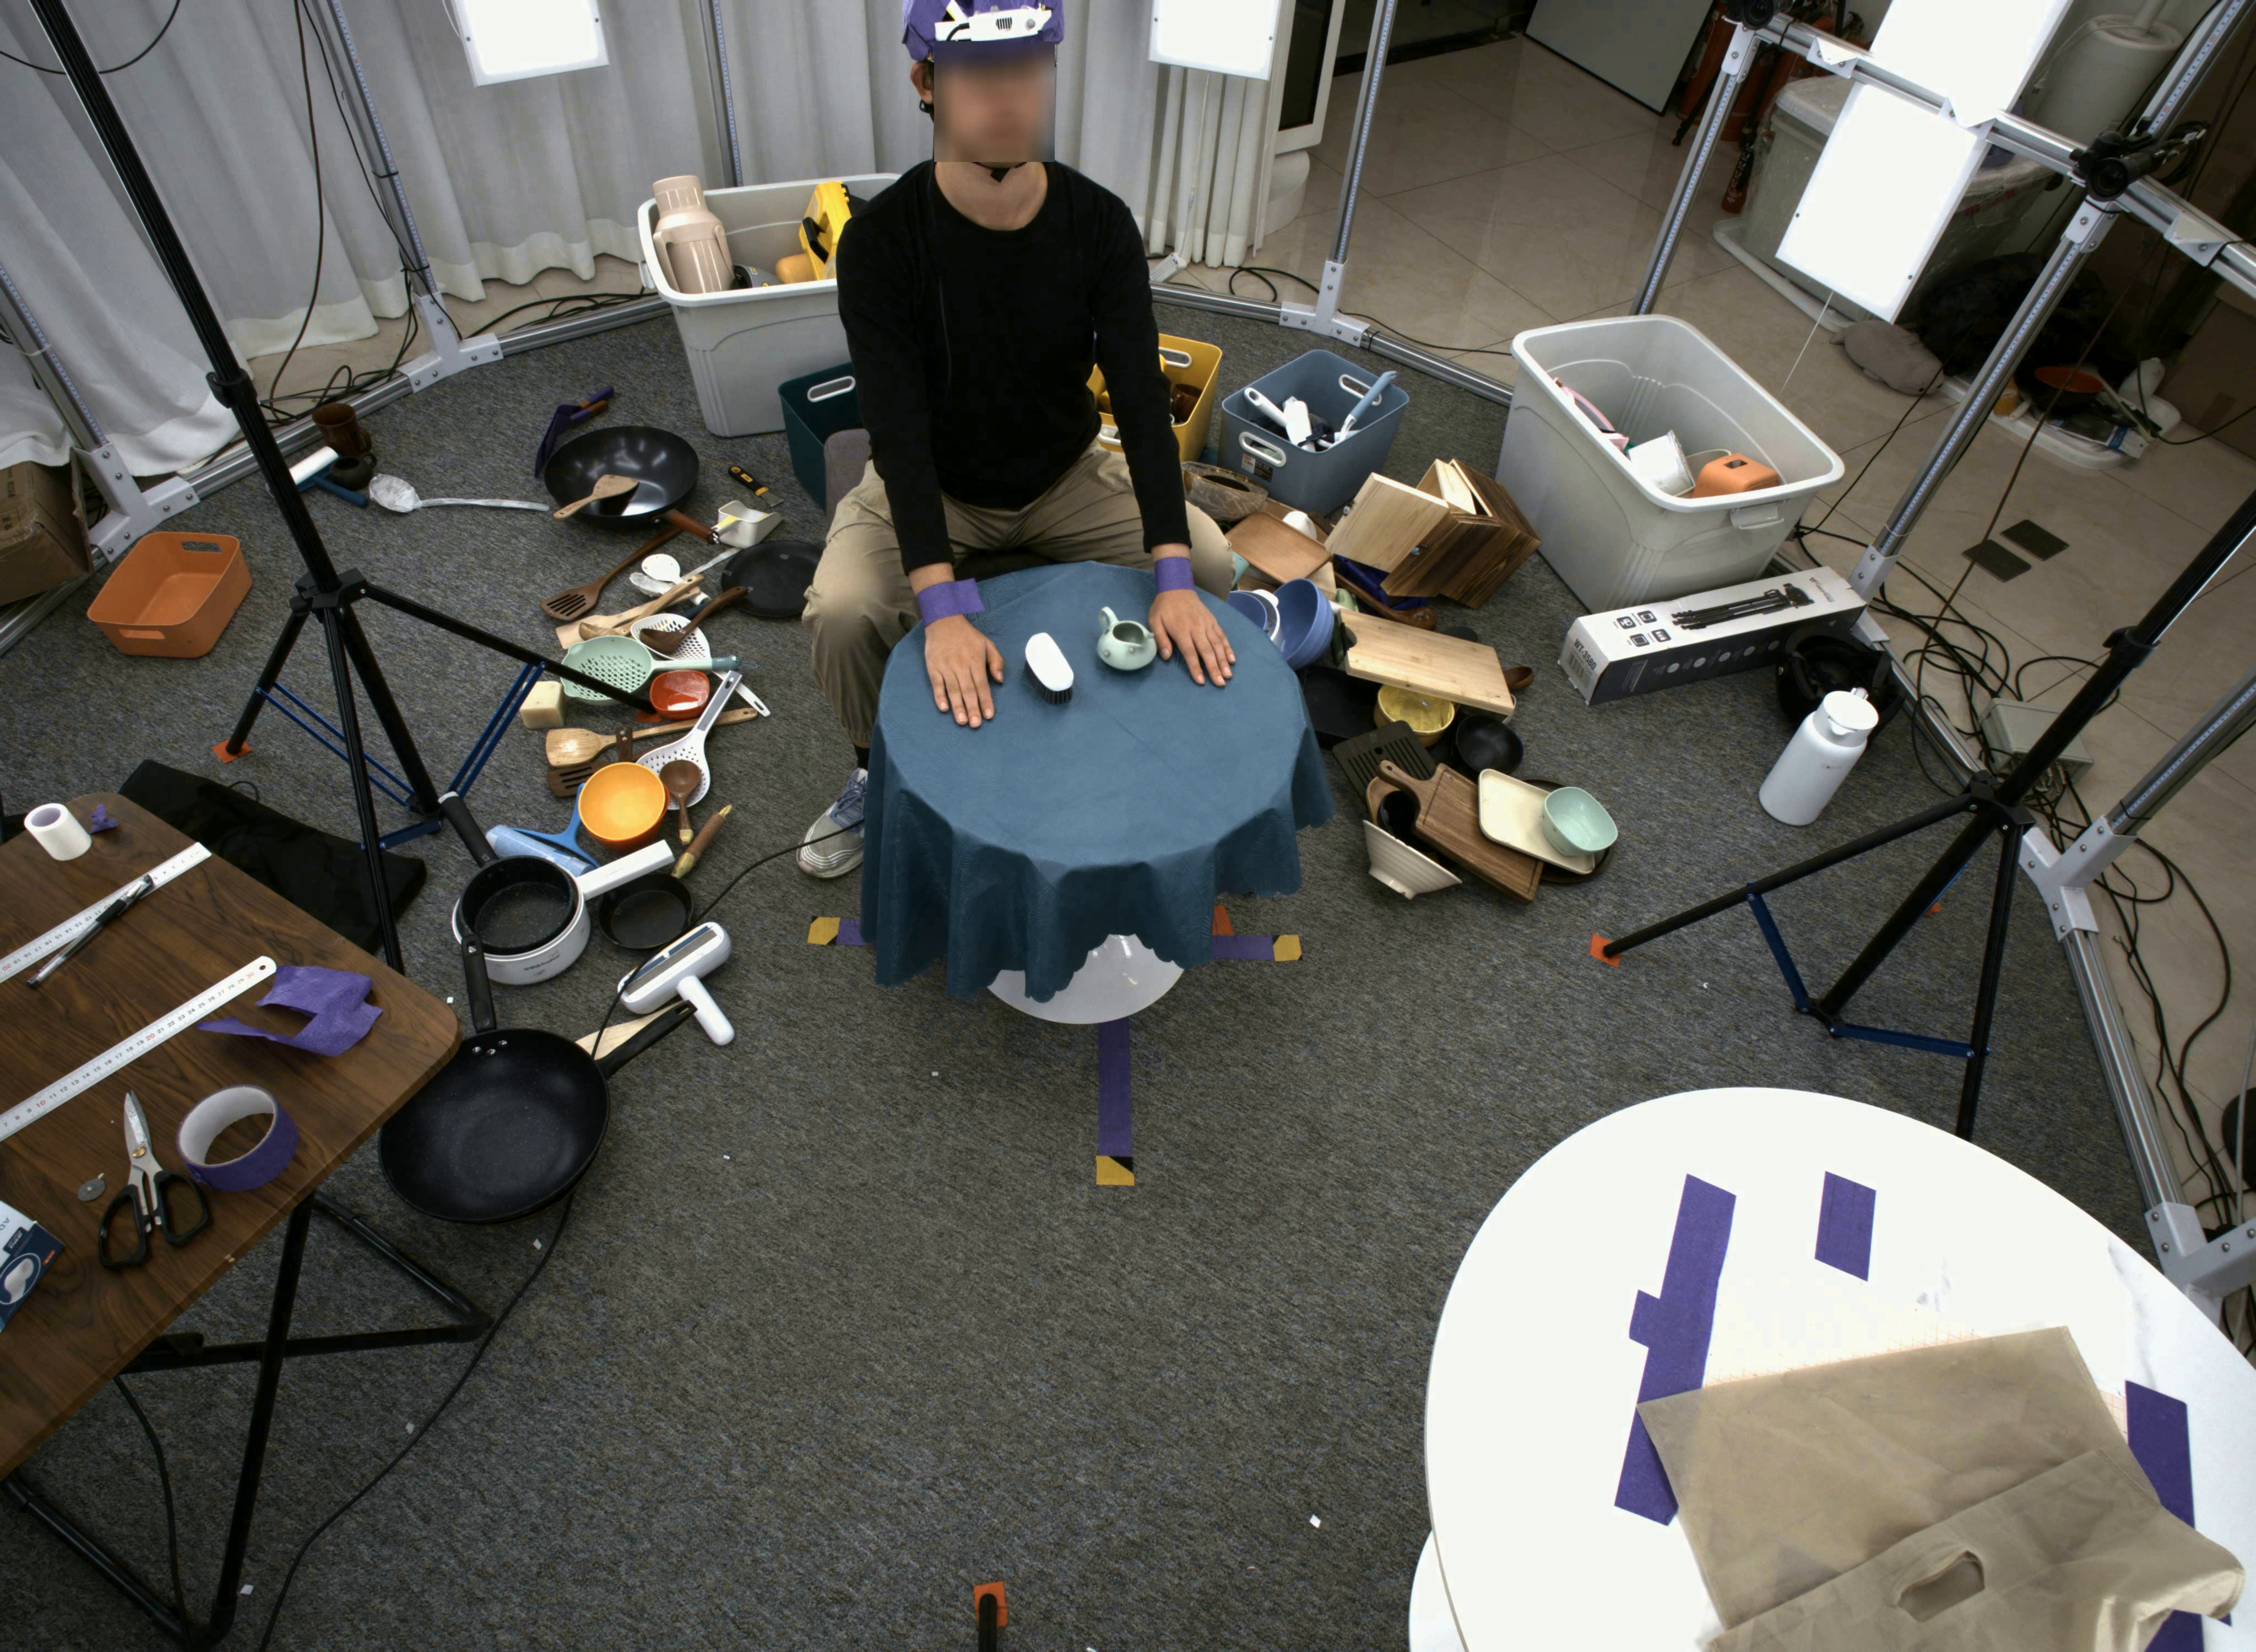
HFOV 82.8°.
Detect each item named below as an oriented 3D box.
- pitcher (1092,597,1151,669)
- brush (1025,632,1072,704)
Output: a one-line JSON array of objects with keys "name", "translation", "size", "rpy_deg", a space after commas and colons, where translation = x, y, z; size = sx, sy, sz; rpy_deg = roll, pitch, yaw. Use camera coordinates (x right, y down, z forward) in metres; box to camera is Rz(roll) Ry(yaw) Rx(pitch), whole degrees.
[{"name": "pitcher", "translation": [-0.014, -0.281, 1.869], "size": [0.086, 0.059, 0.110], "rpy_deg": [-22, 70, -8]}, {"name": "brush", "translation": [-0.112, -0.230, 1.811], "size": [0.050, 0.071, 0.101], "rpy_deg": [-16, 53, -20]}]
